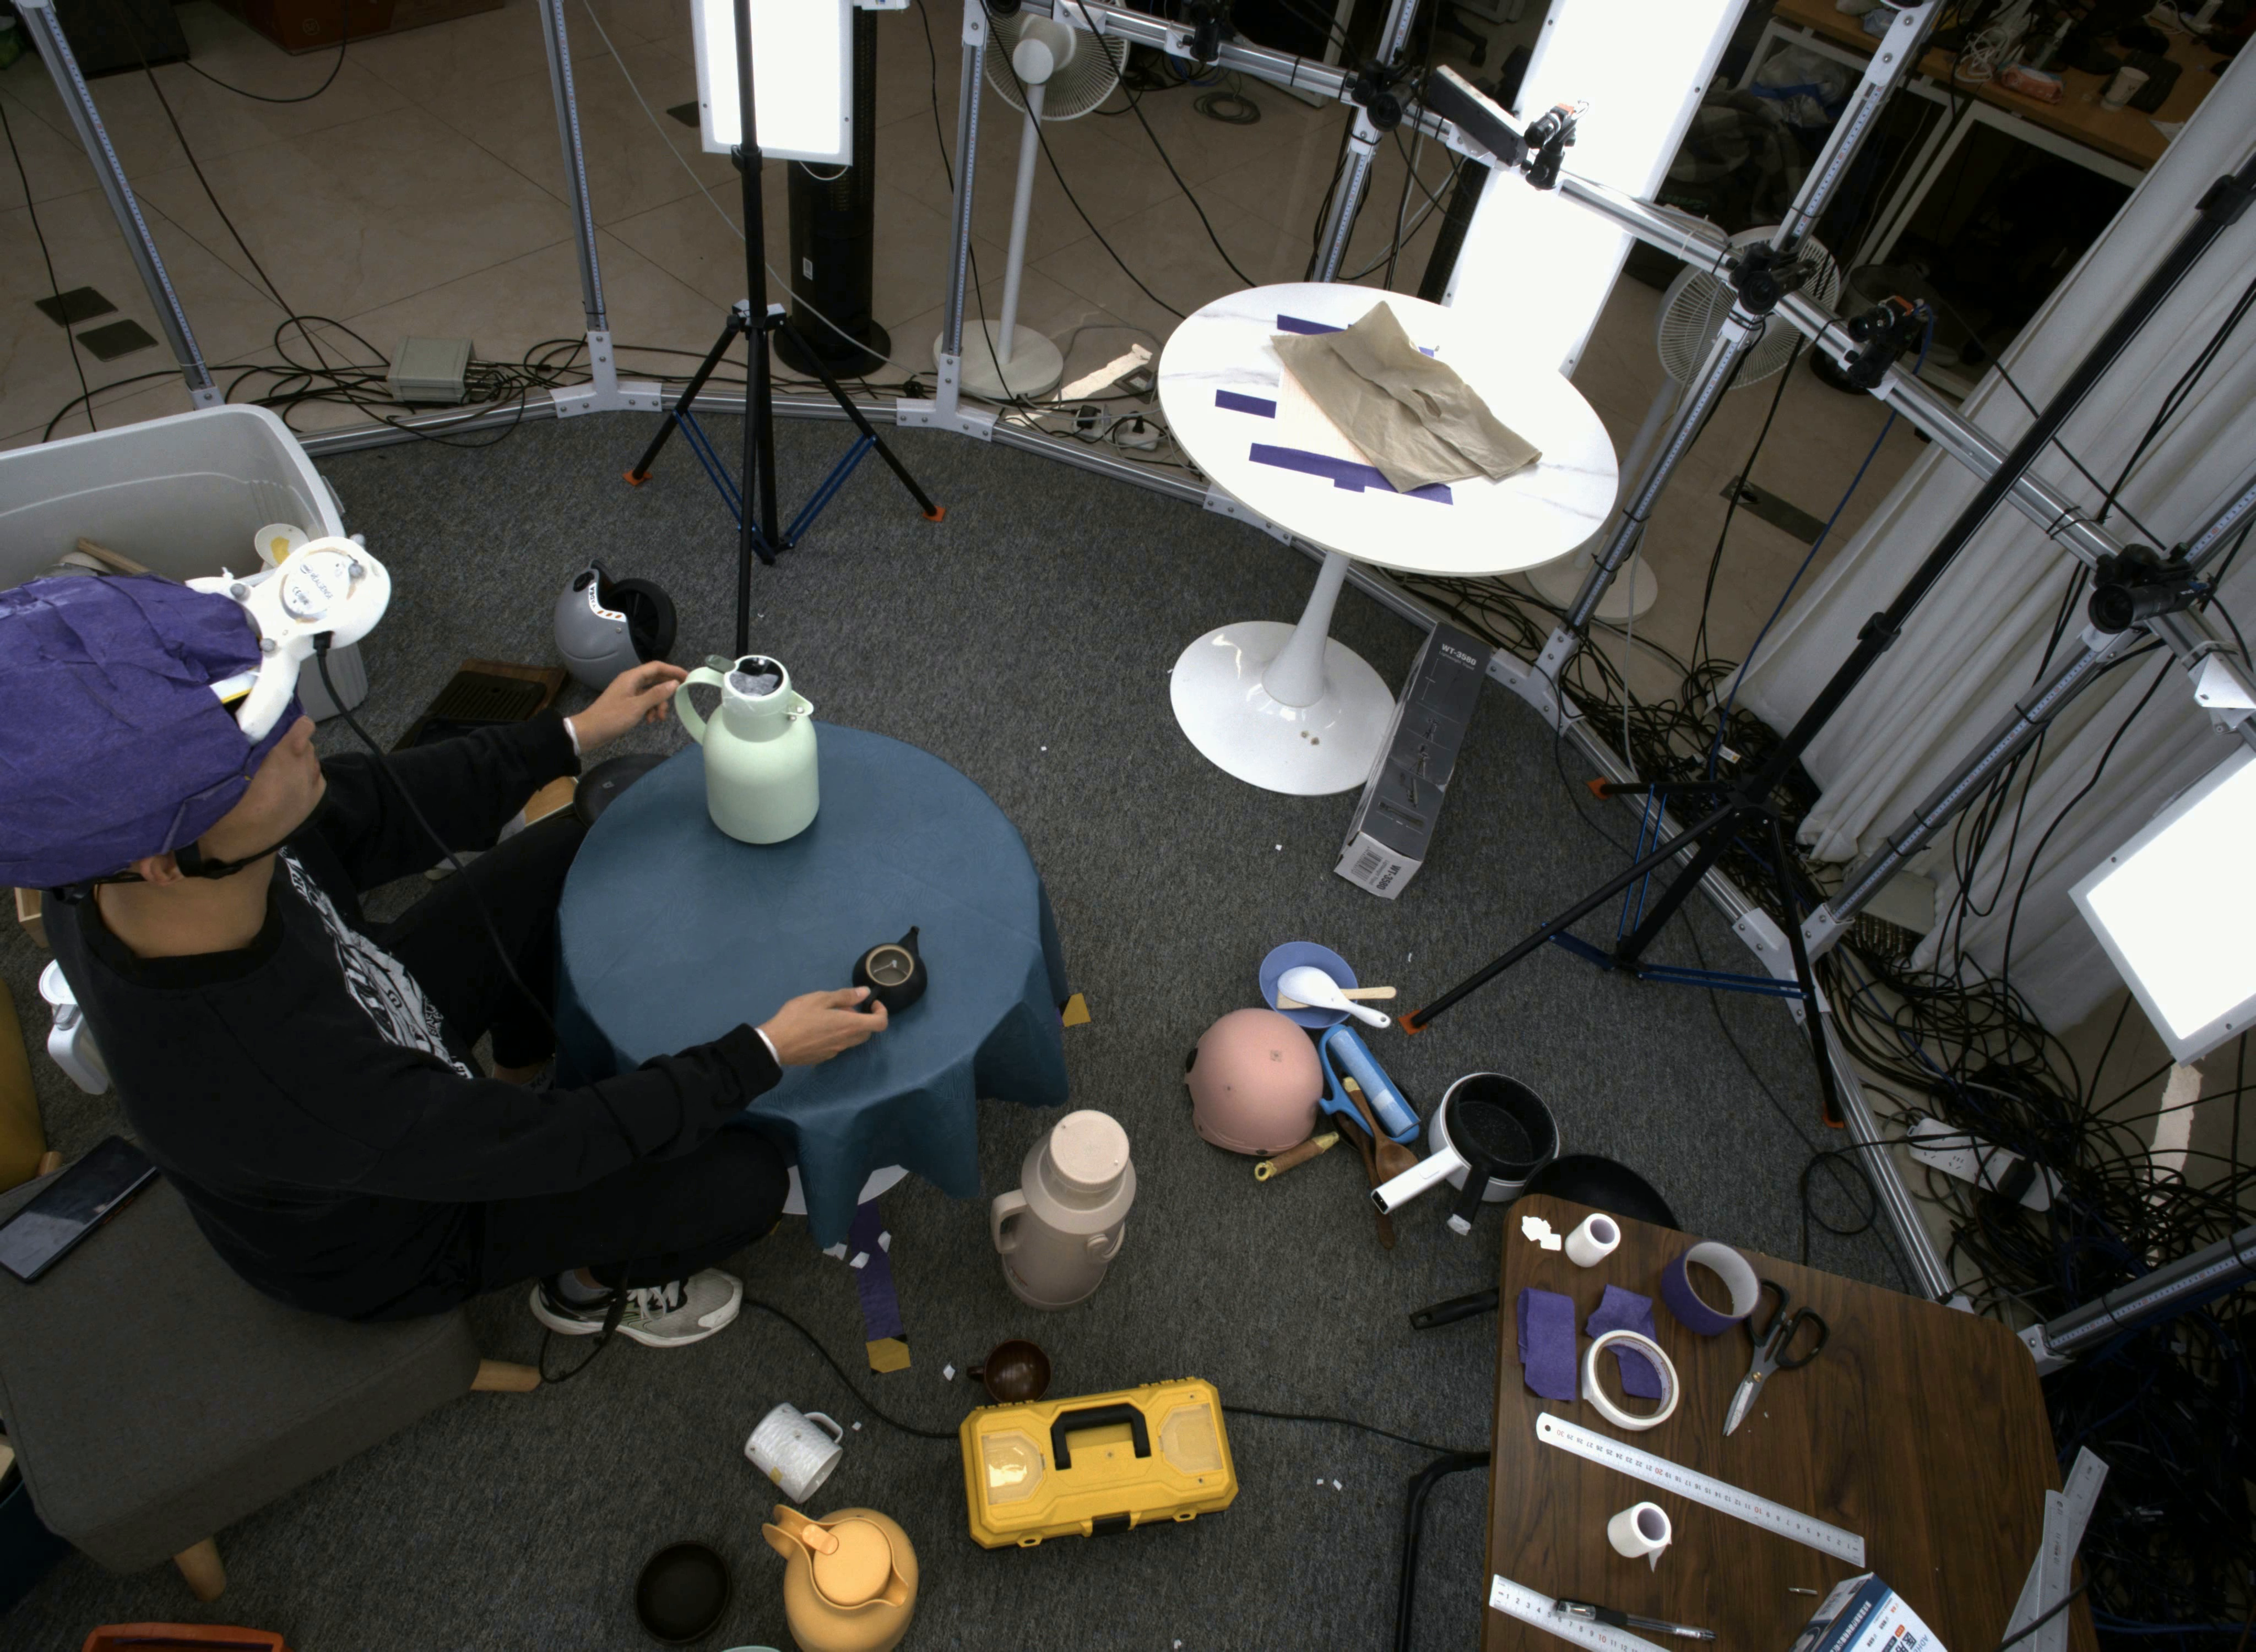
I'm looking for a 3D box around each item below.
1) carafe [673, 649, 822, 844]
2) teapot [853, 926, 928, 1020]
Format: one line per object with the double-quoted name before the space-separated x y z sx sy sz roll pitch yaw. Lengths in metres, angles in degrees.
"carafe" -0.478 -0.110 1.628 0.184 0.263 0.143 17 52 5
"teapot" -0.290 0.182 1.586 0.089 0.054 0.132 23 51 6
